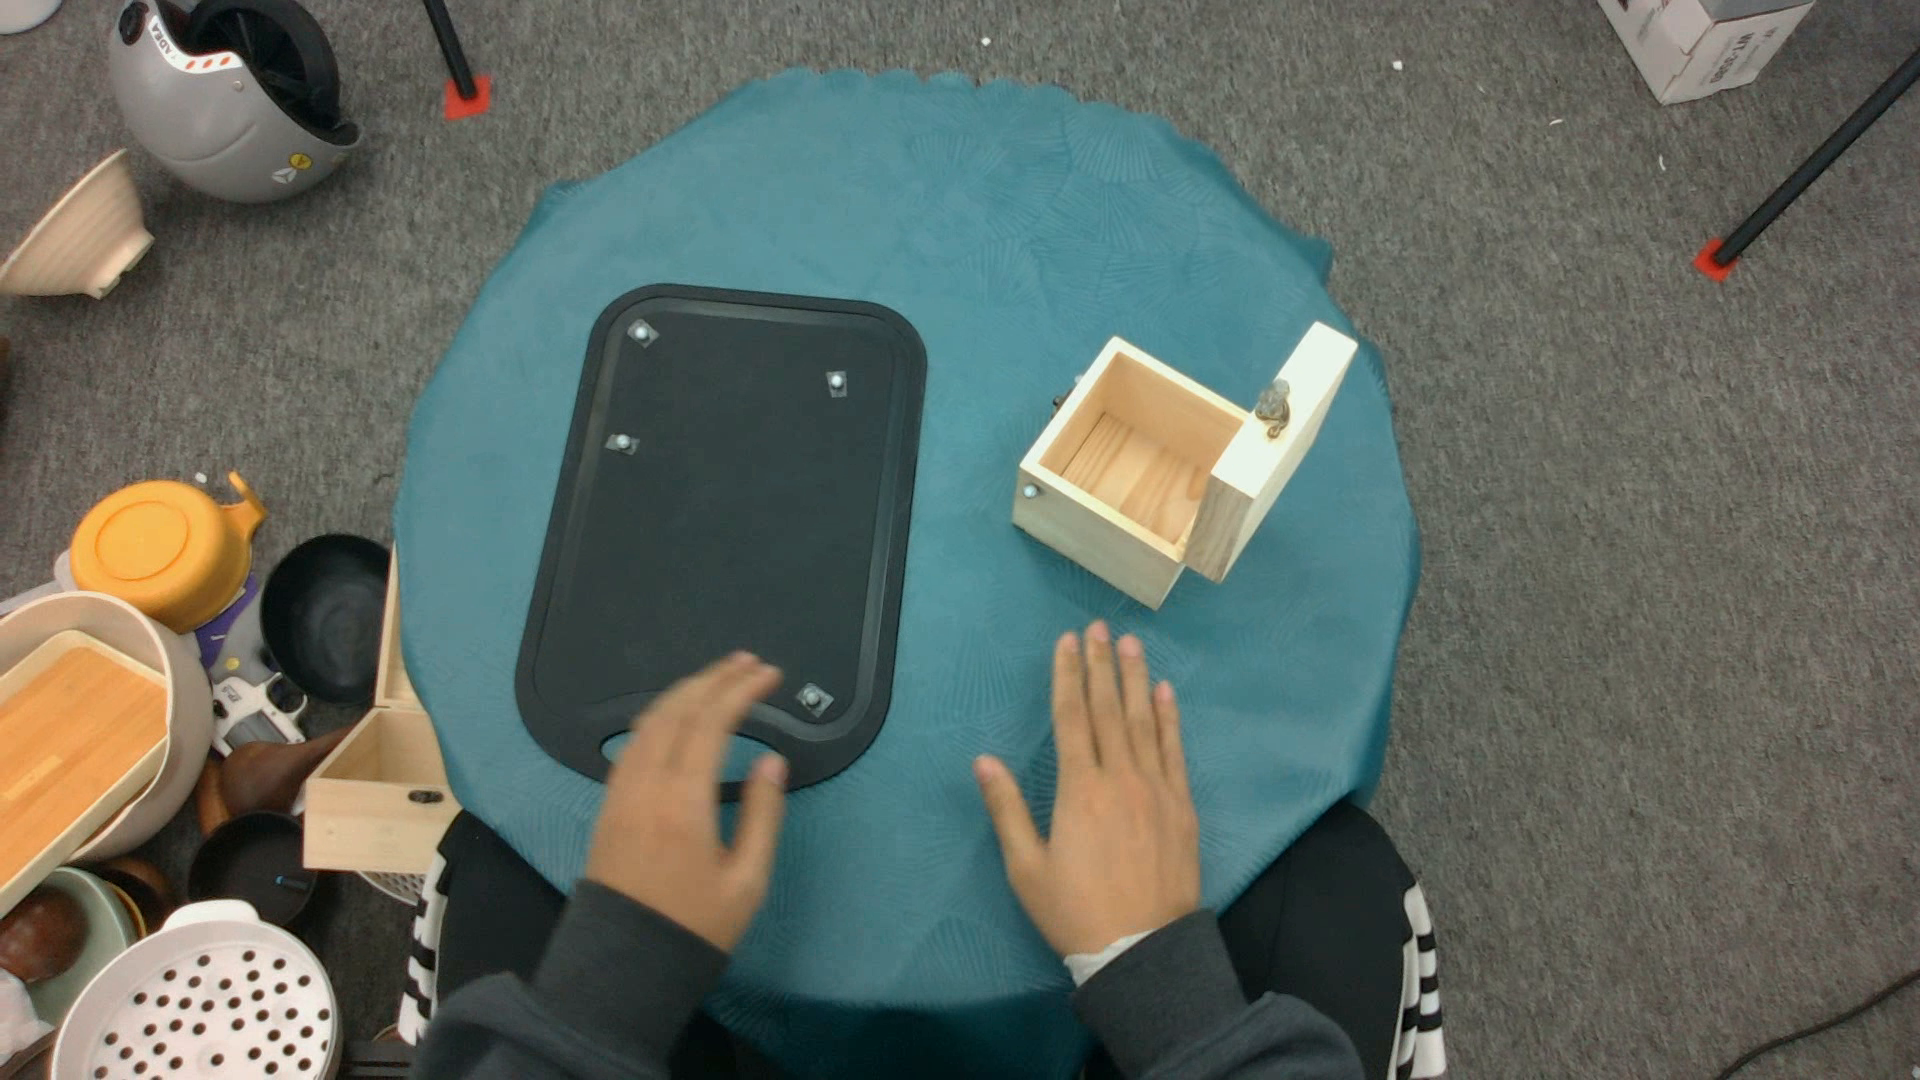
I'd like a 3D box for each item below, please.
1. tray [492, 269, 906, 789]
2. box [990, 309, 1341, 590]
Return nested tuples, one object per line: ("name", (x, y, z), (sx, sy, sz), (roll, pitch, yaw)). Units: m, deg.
("tray", (-0.146, -0.017, 0.802), (0.211, 0.010, 0.326), (5, 67, 0))
("box", (0.099, -0.063, 0.736), (0.134, 0.184, 0.103), (32, 70, 9))
